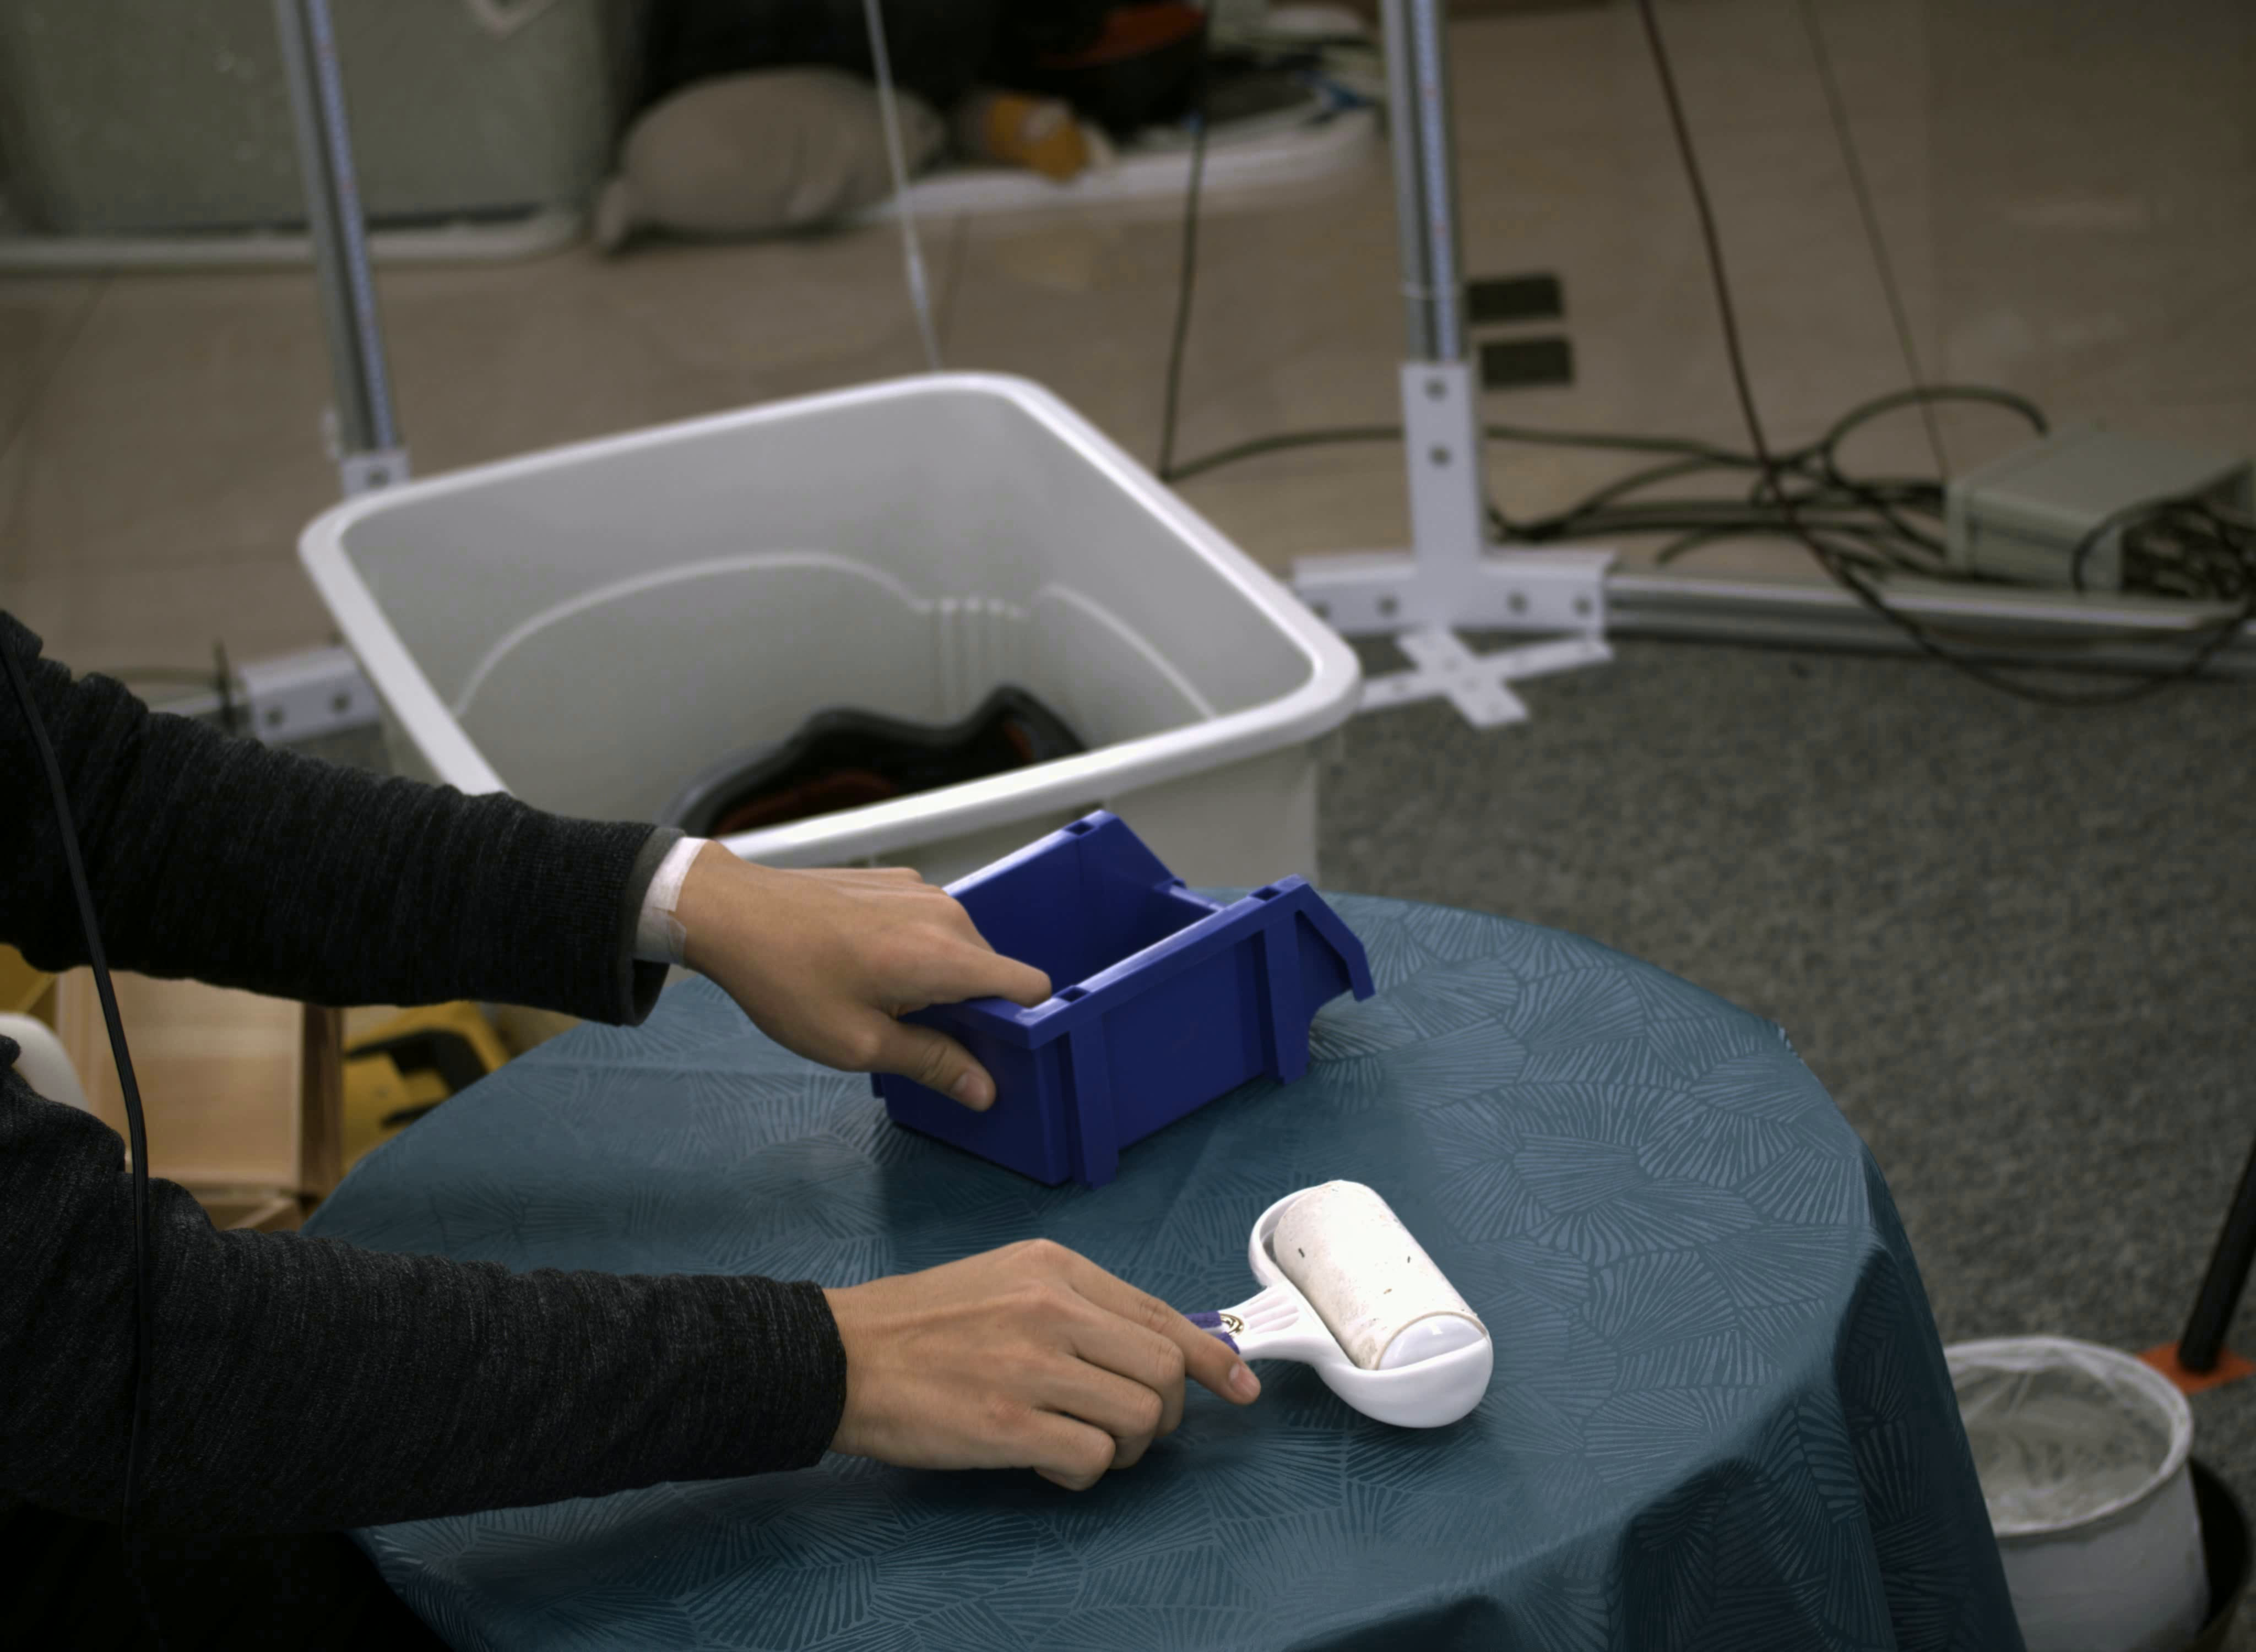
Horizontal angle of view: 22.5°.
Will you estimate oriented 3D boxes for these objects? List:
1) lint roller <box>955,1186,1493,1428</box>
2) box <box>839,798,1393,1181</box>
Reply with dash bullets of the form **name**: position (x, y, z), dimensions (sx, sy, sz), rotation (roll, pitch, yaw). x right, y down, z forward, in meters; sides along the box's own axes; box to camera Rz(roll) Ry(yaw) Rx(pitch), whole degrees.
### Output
- **lint roller**: position (0.026, 0.172, 1.984), dimensions (0.180, 0.051, 0.131), rotation (-2, 25, -18)
- **box**: position (-0.004, 0.059, 2.221), dimensions (0.178, 0.083, 0.123), rotation (-28, 33, -33)
